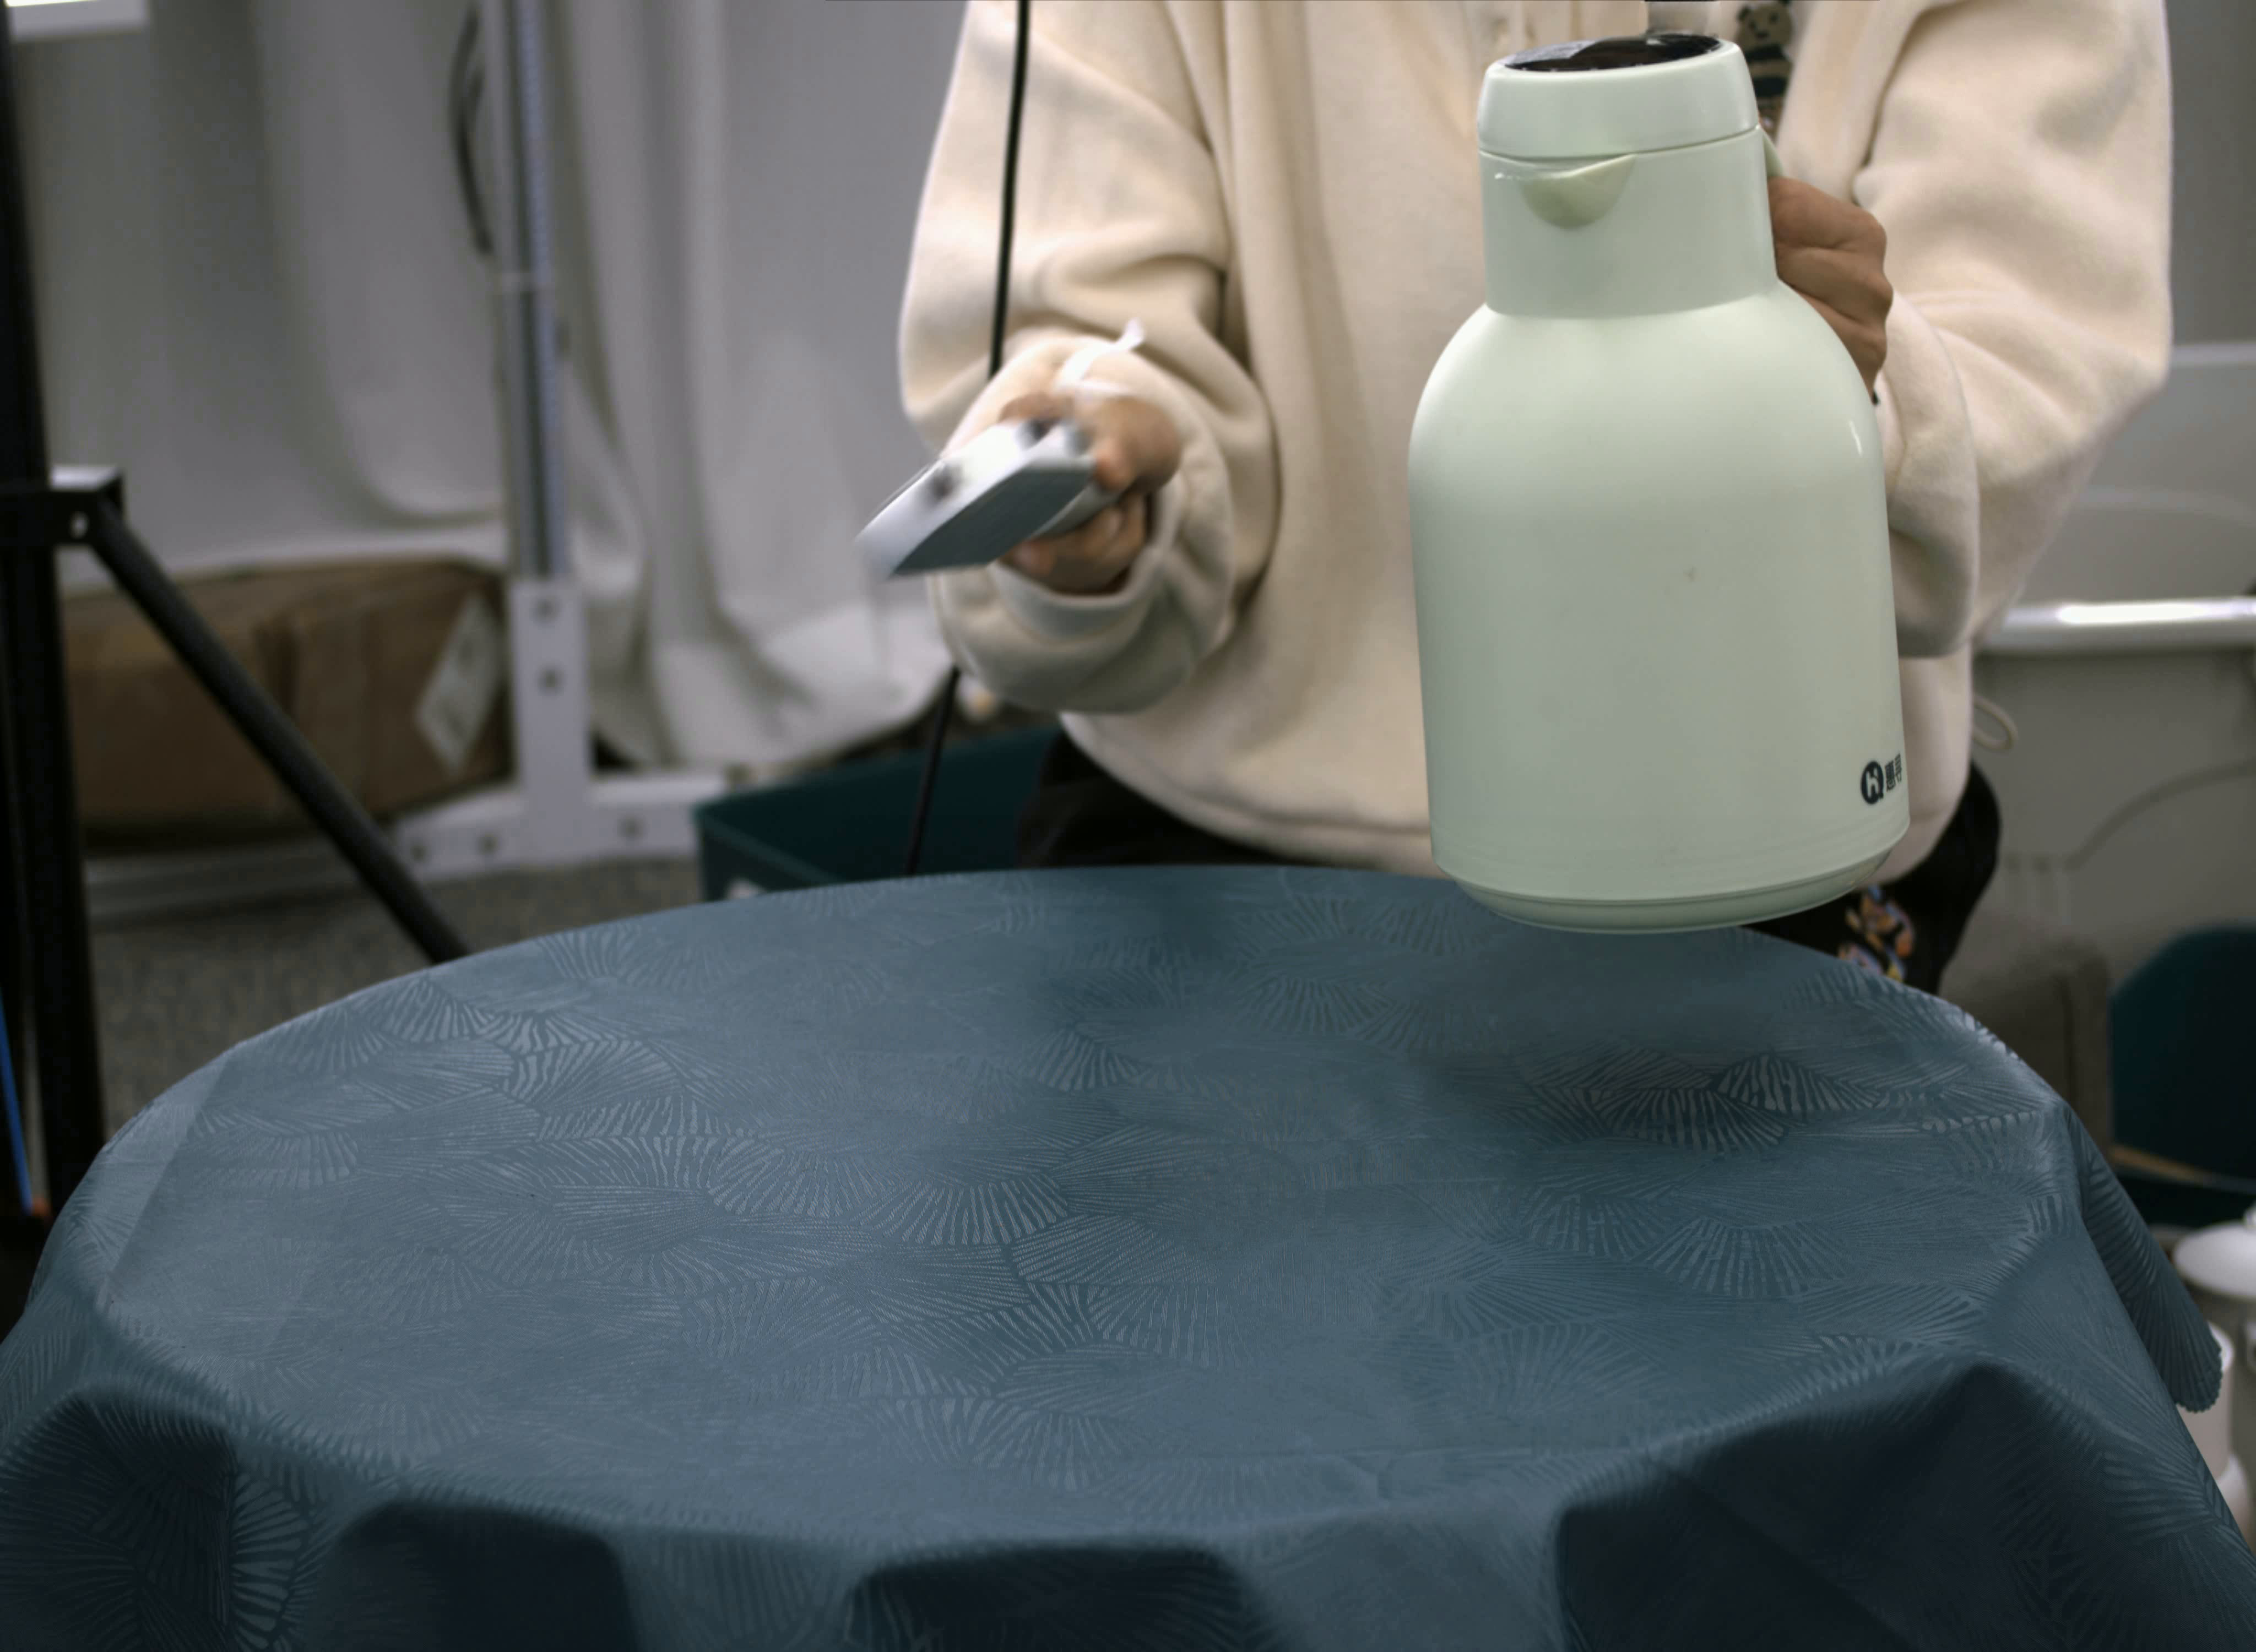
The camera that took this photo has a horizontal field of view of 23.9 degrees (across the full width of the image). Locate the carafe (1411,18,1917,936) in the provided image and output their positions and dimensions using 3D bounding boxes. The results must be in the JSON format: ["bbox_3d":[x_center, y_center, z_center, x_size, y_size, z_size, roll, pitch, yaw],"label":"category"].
[{"bbox_3d":[0.161,-0.107,1.587,0.146,0.257,0.183,0,11,29],"label":"carafe"}]

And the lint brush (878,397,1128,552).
[{"bbox_3d":[-0.030,-0.108,1.664,0.060,0.021,0.307,-39,-3,7],"label":"lint brush"}]
